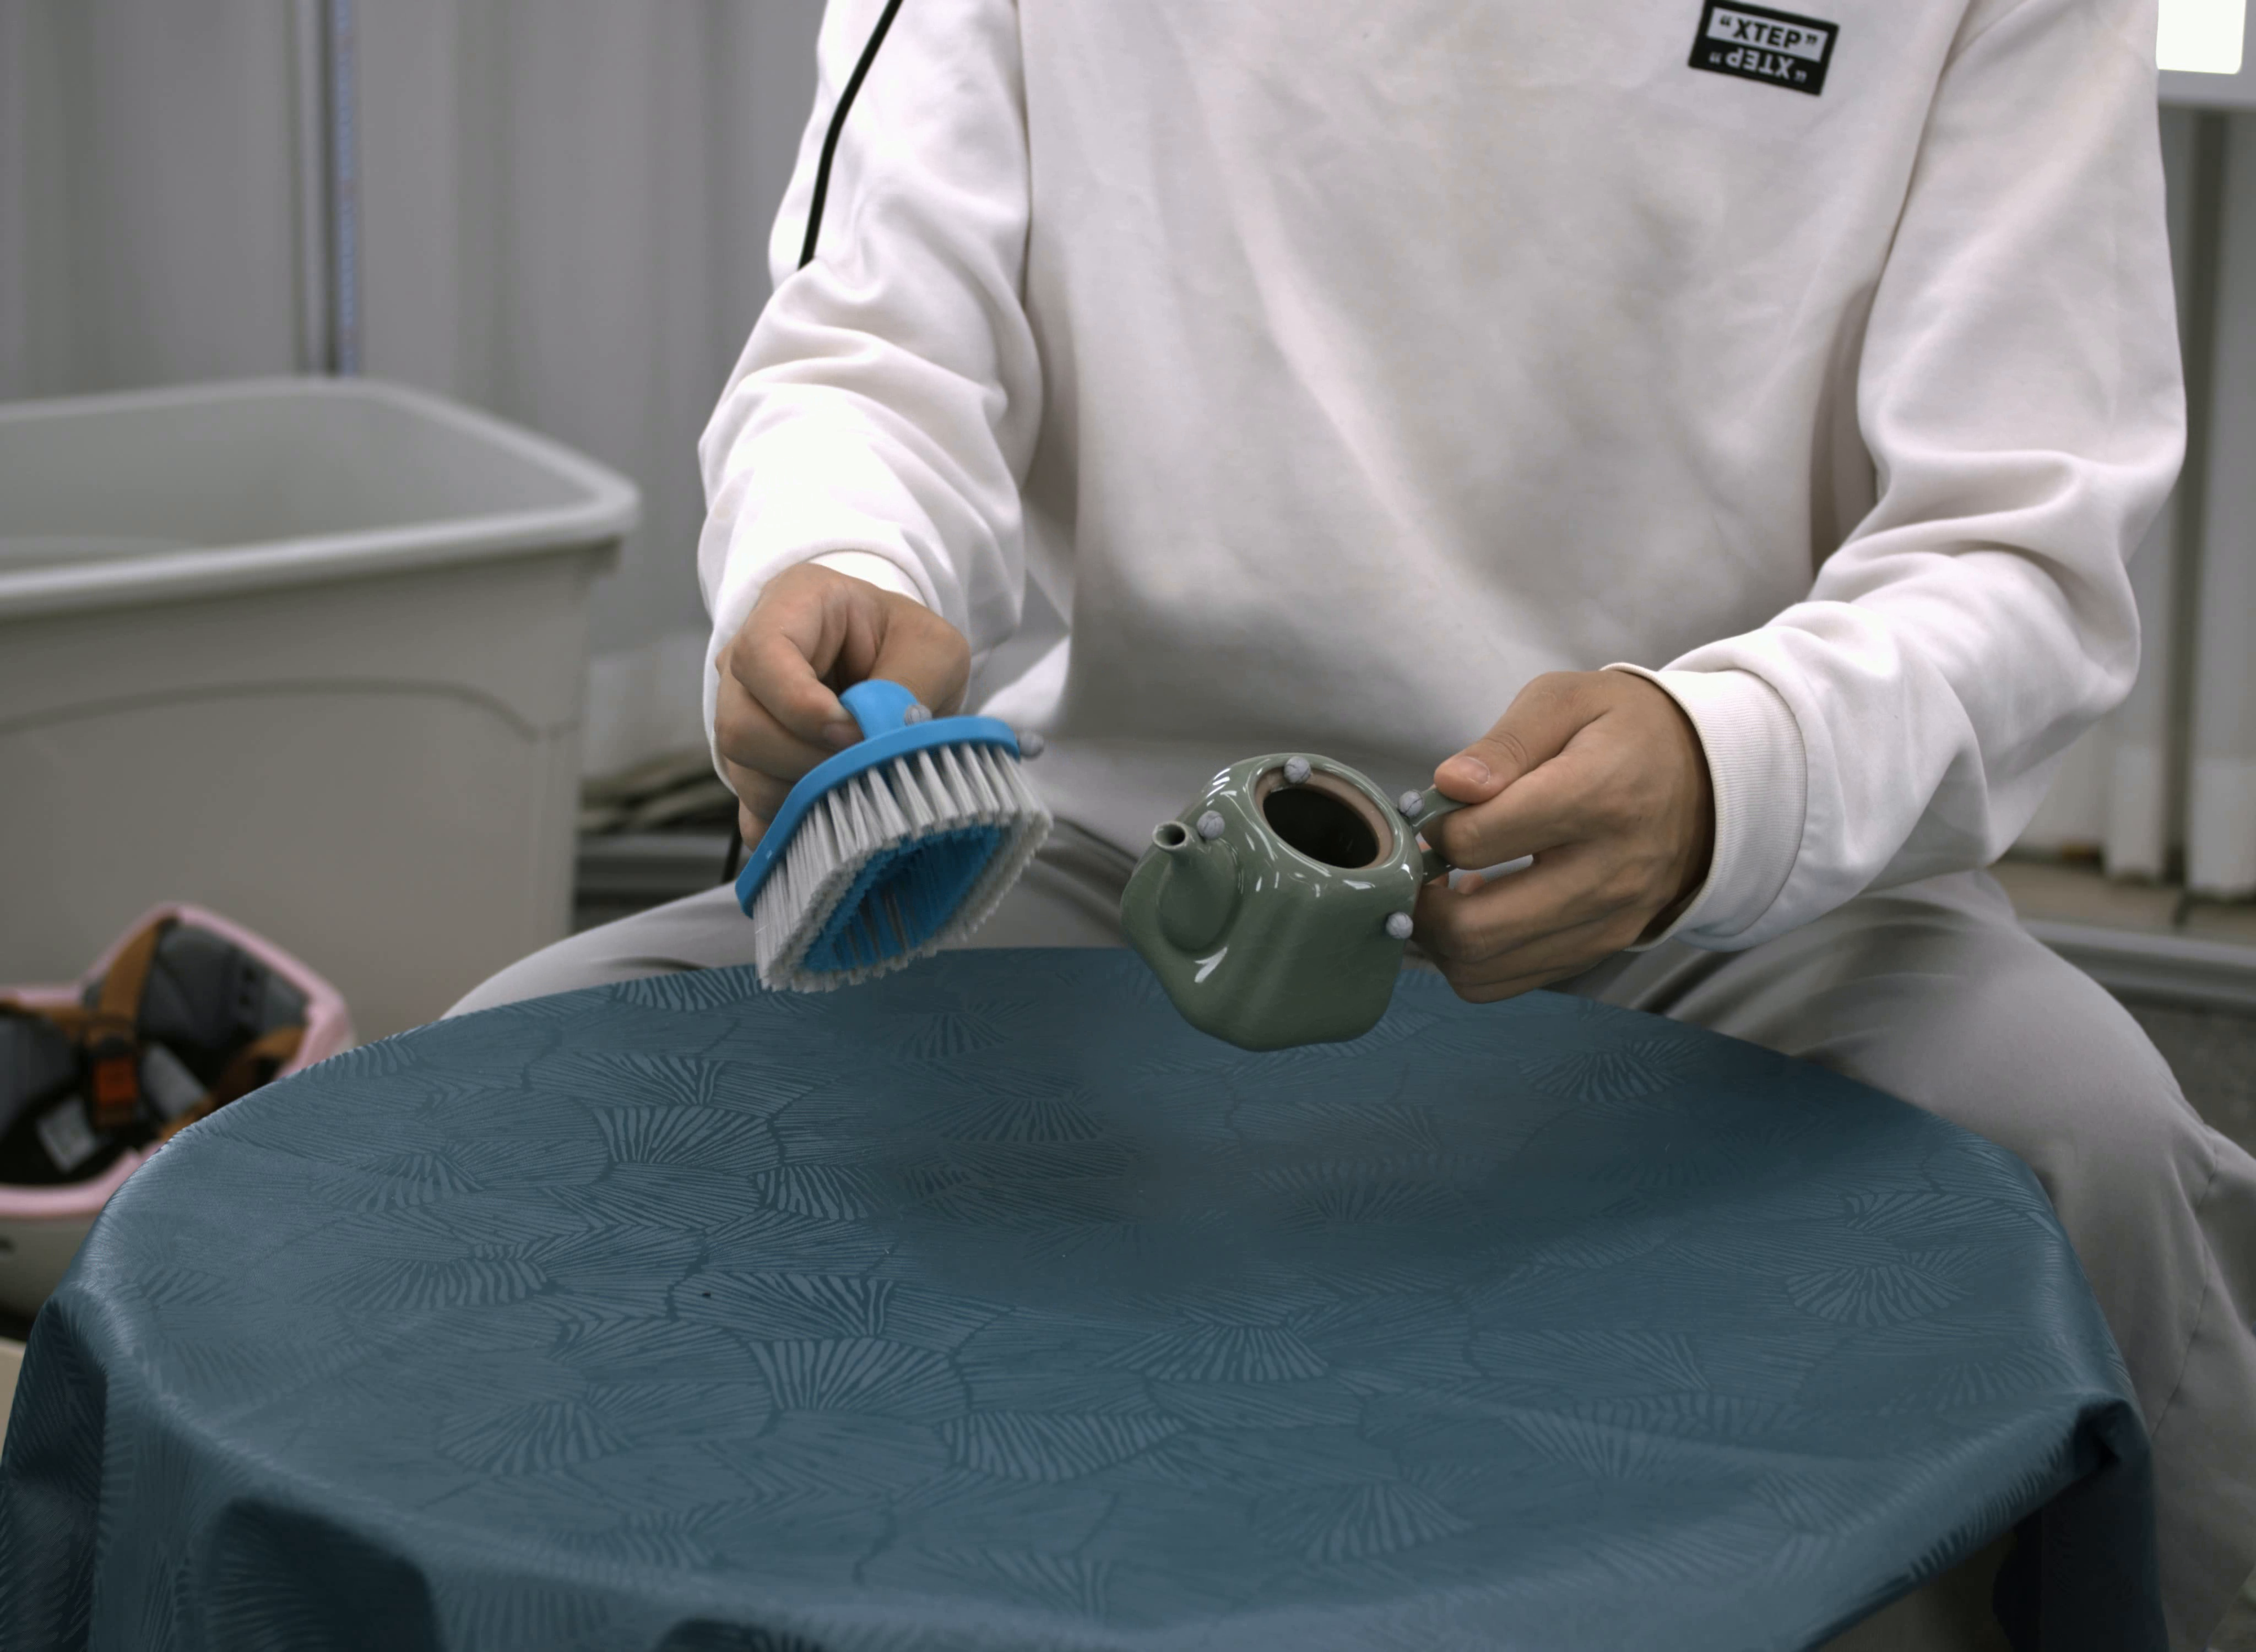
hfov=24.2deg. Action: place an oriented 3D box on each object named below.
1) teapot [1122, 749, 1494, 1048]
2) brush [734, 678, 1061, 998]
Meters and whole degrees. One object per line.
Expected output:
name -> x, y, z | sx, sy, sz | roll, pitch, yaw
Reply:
teapot -> 0.048, 0.020, 1.598 | 0.133, 0.075, 0.079 | -5, 49, -37
brush -> -0.077, -0.003, 1.606 | 0.084, 0.063, 0.142 | -17, -18, -23
